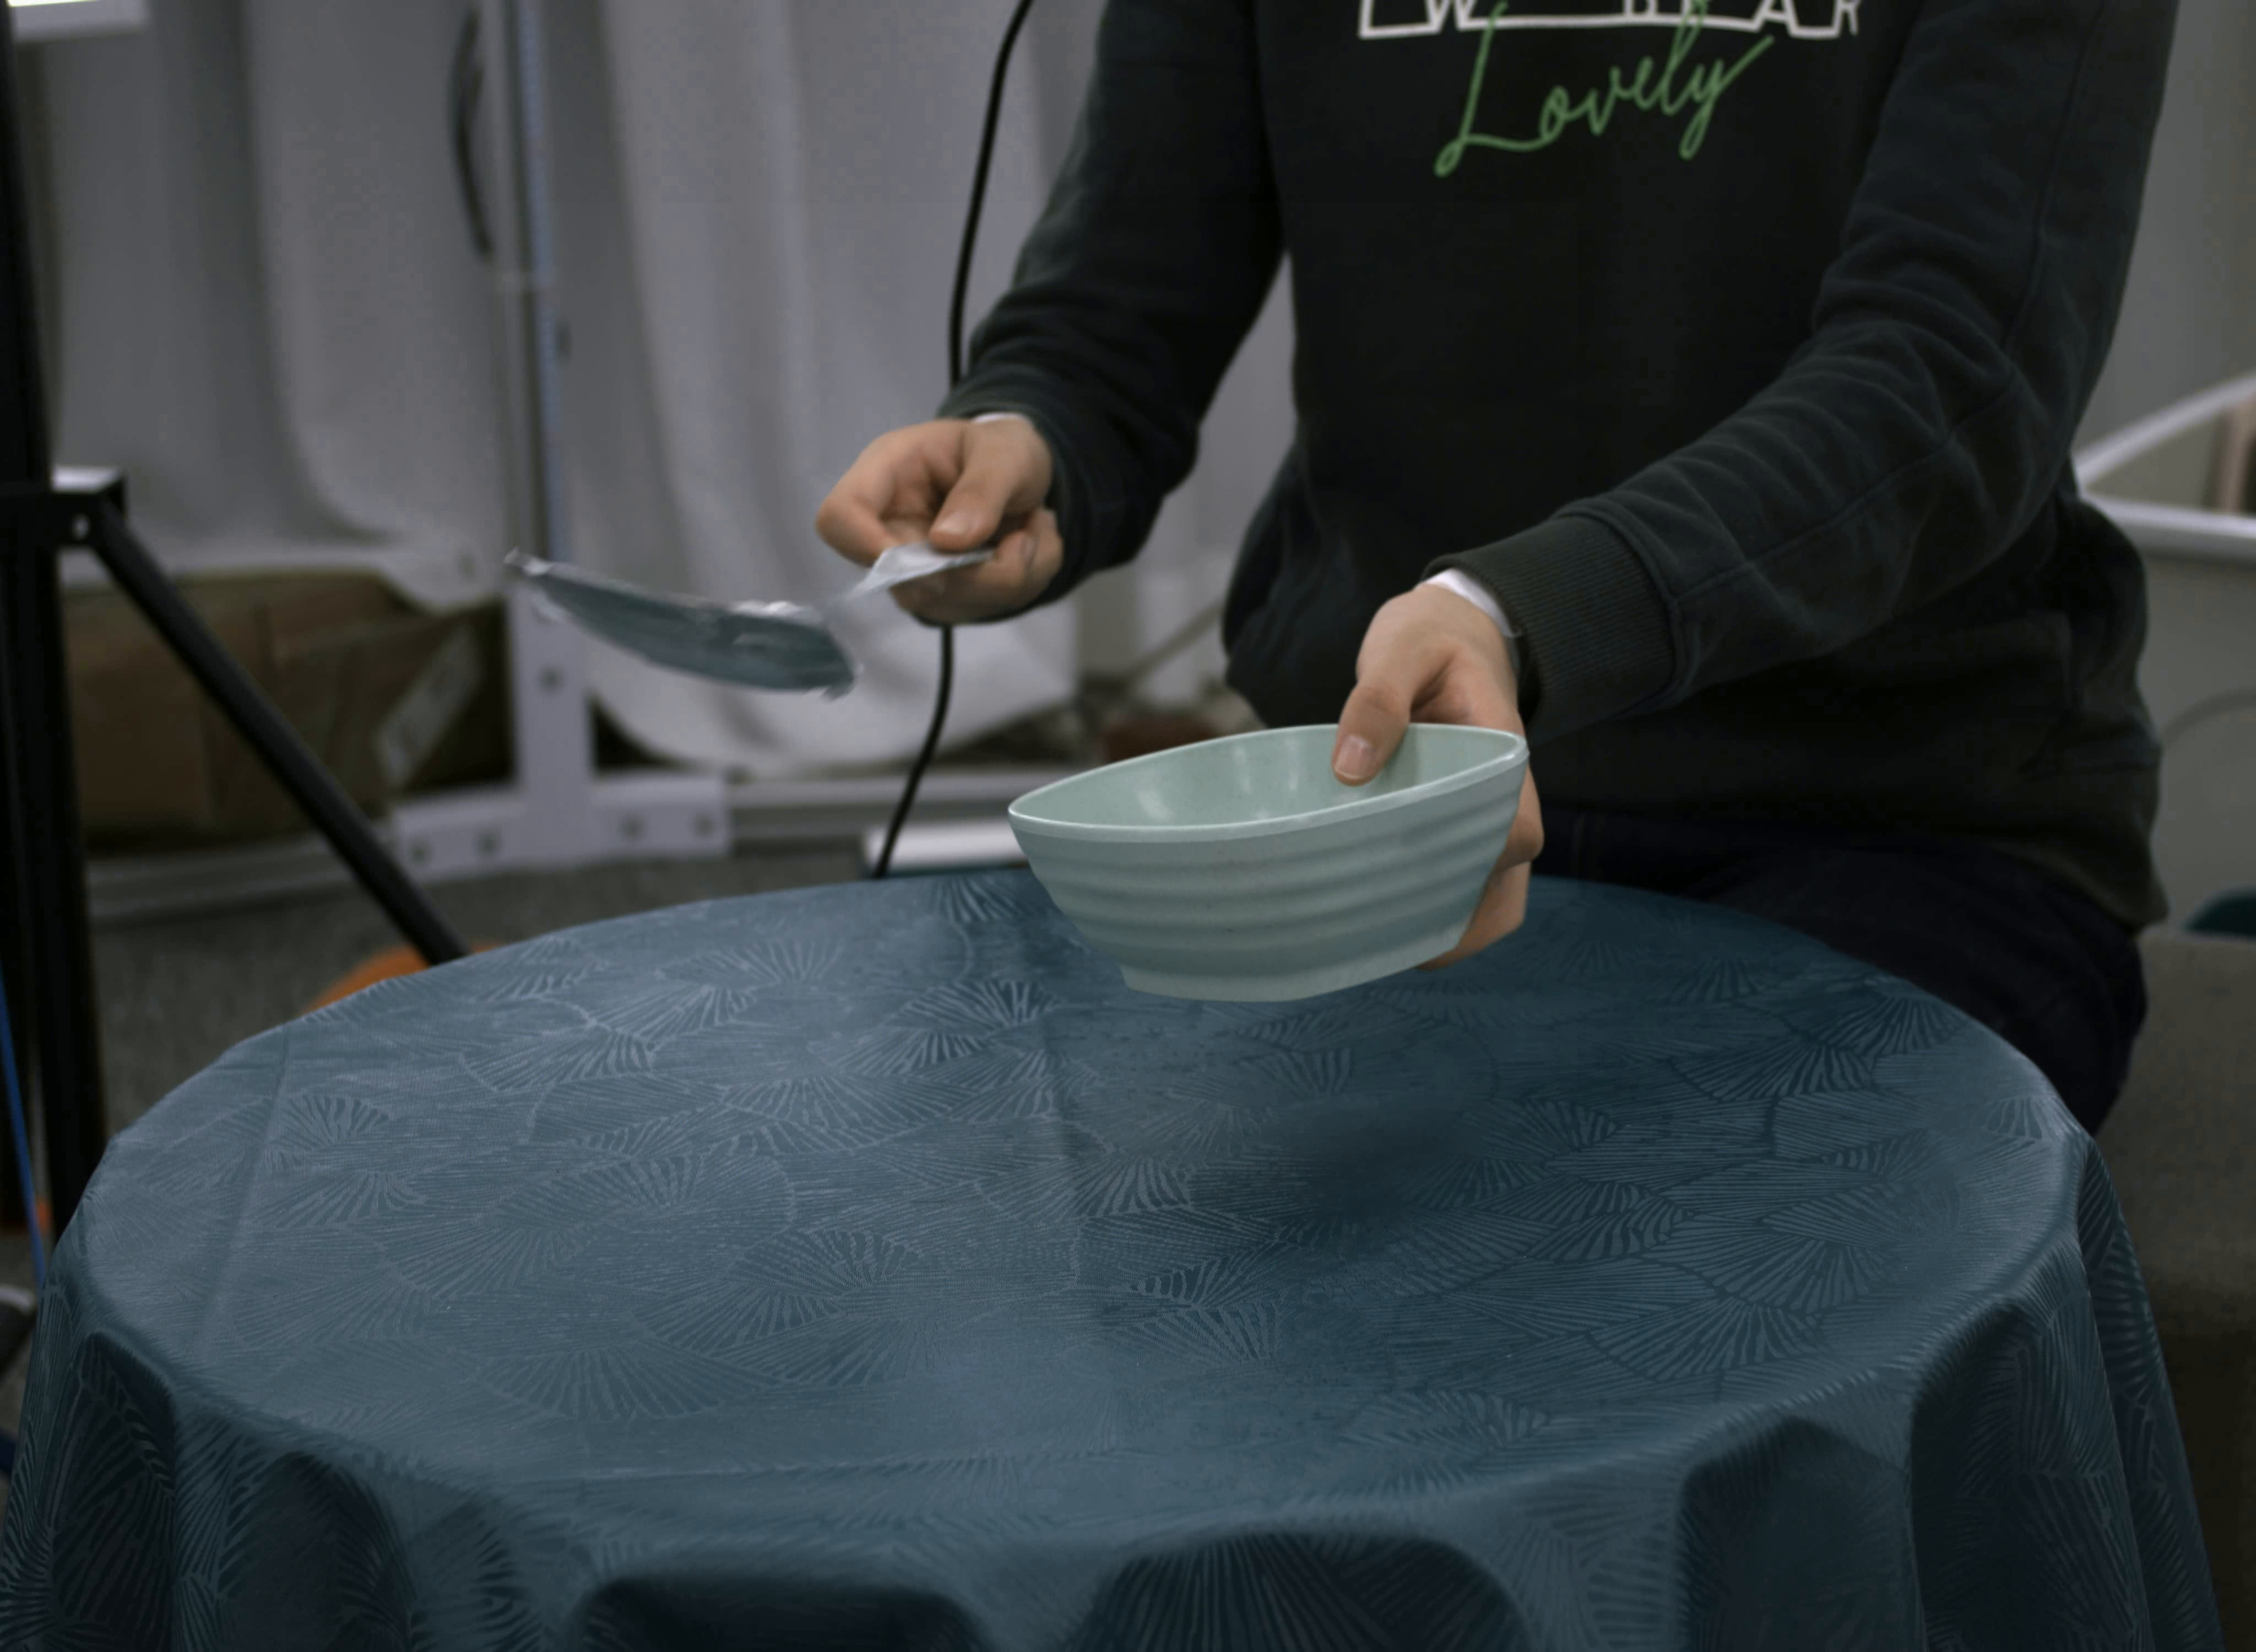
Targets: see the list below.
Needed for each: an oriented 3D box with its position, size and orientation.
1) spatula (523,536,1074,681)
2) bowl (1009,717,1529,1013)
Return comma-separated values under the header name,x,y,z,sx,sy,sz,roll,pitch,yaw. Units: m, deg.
name,x,y,z,sx,sy,sz,roll,pitch,yaw
spatula,-0.079,-0.079,1.641,0.099,0.045,0.360,10,12,16
bowl,0.044,0.014,1.531,0.151,0.058,0.152,-8,12,0
